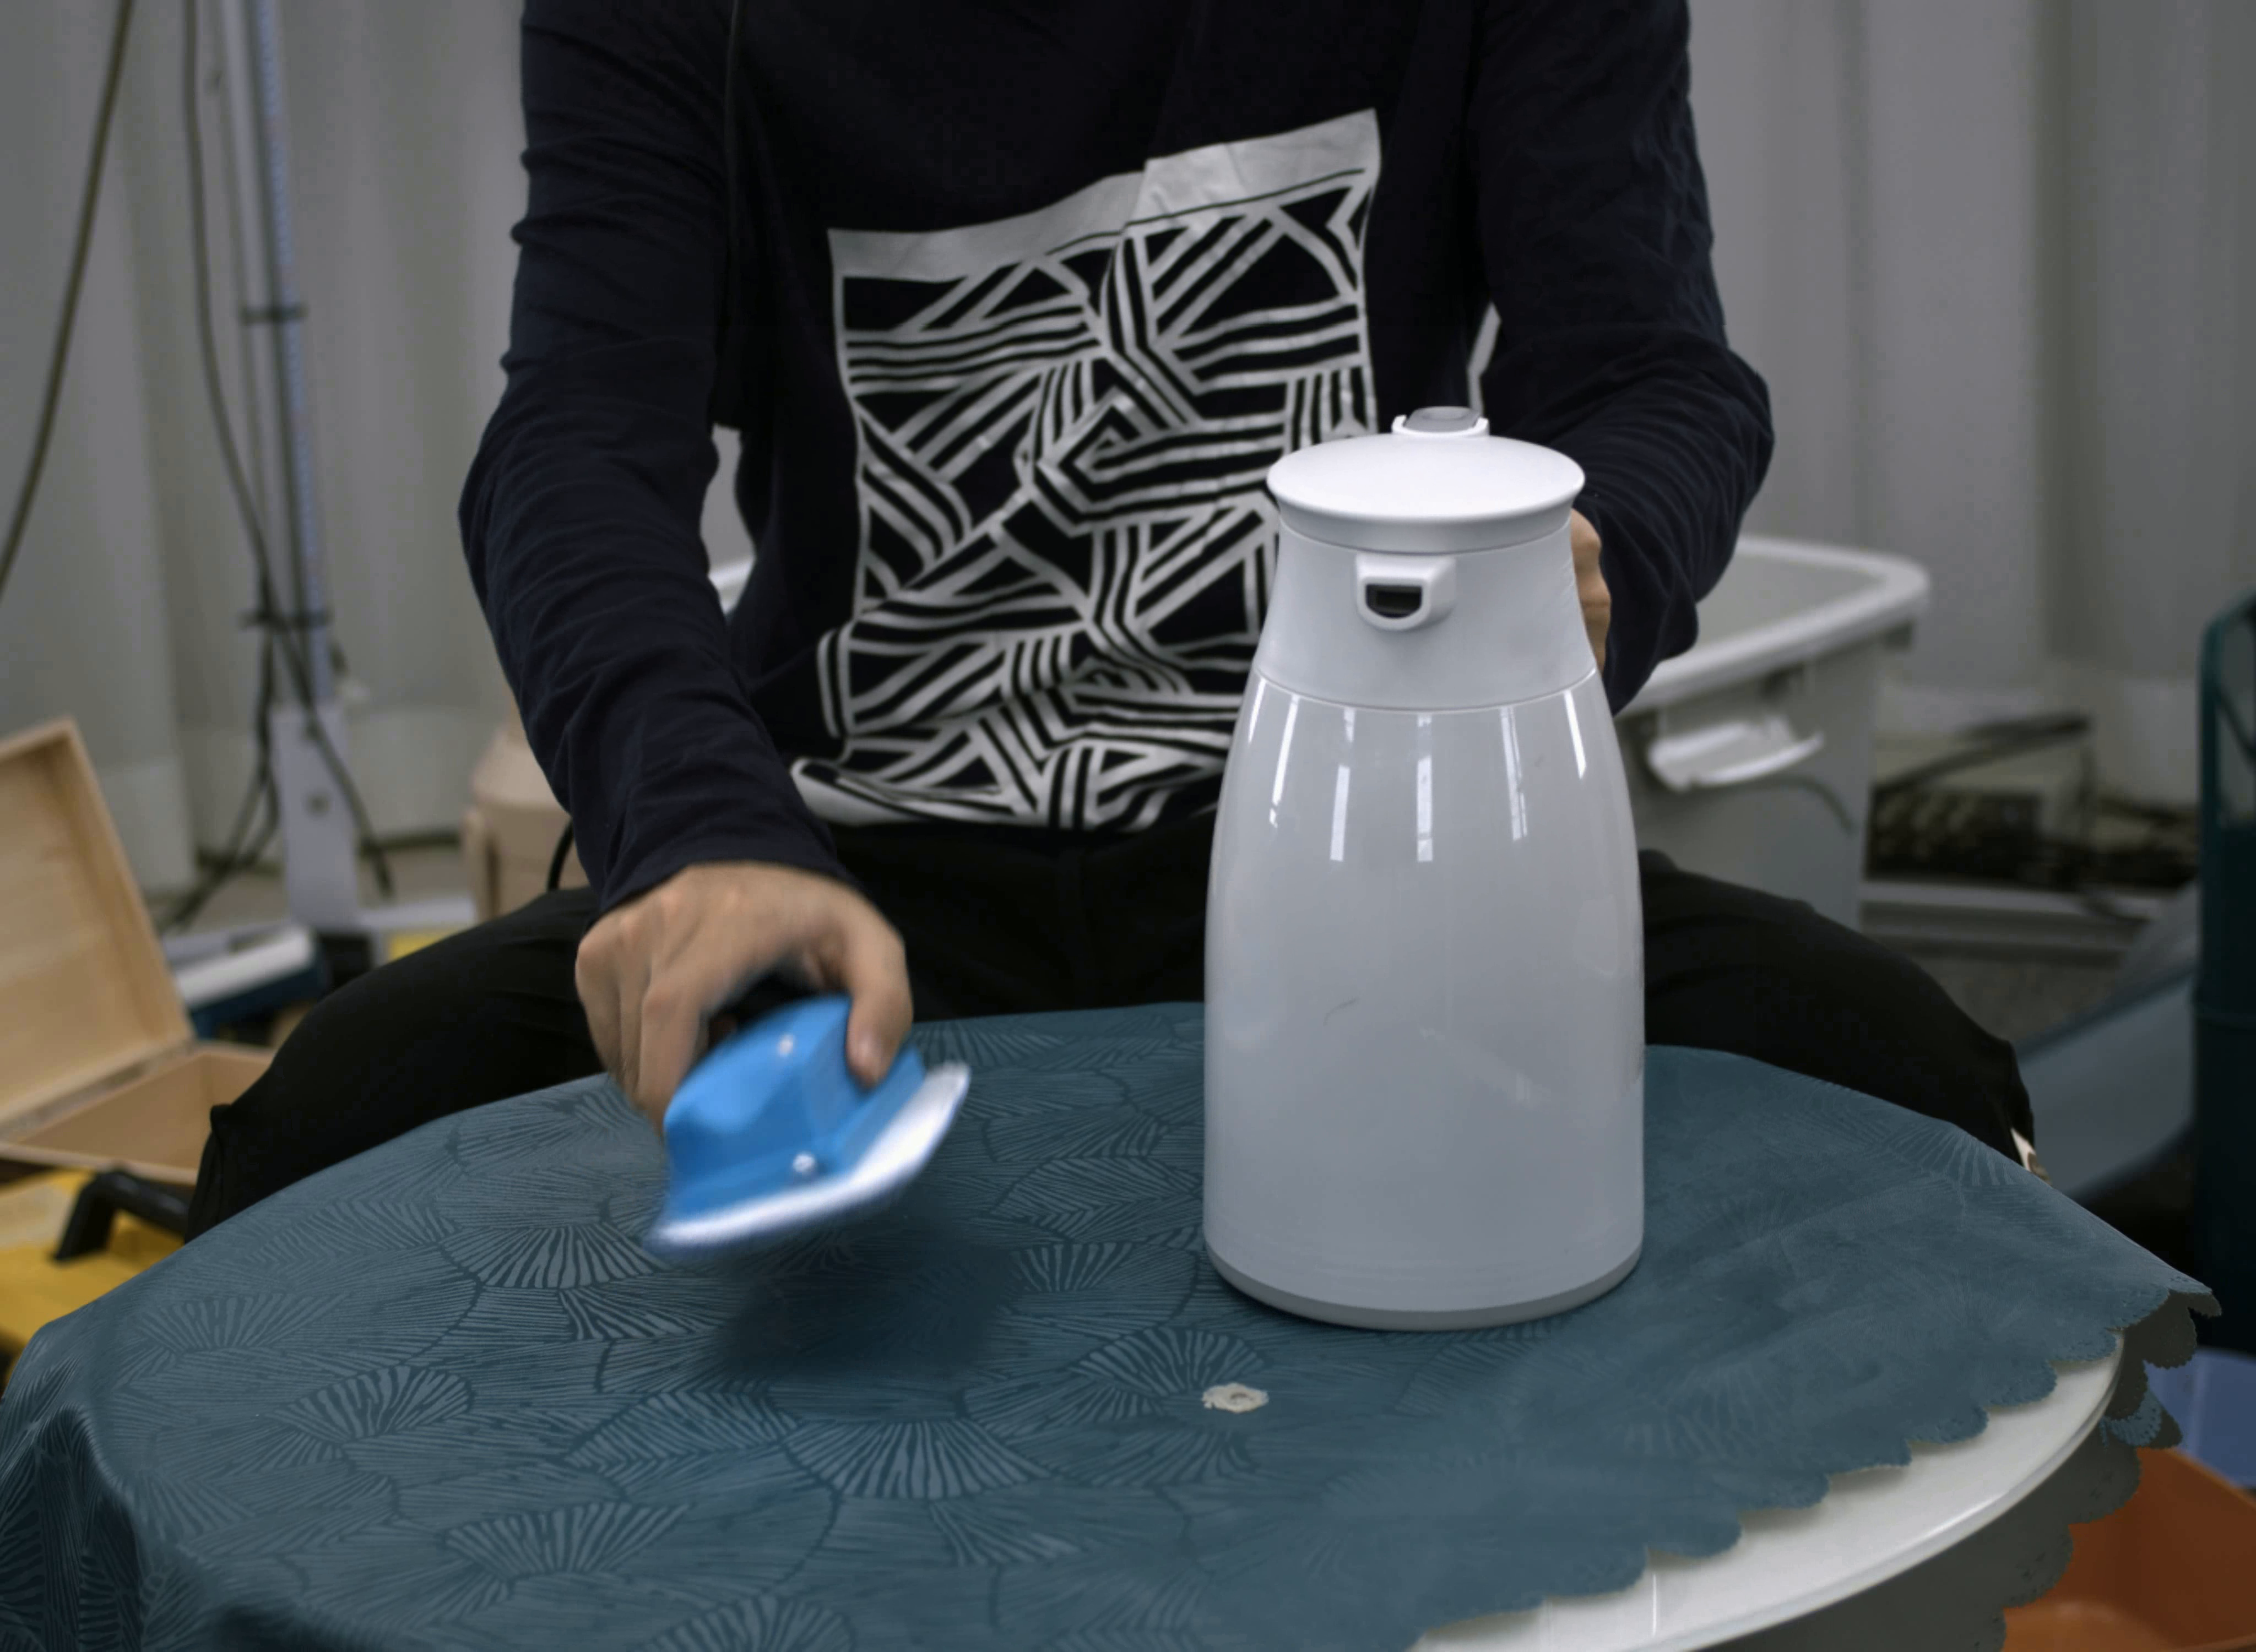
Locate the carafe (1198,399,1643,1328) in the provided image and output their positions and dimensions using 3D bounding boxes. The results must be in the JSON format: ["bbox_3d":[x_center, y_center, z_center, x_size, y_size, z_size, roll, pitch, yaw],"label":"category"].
[{"bbox_3d":[0.088,0.002,1.620,0.132,0.247,0.169,1,17,8],"label":"carafe"}]

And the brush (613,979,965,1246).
[{"bbox_3d":[-0.102,0.083,1.624,0.083,0.056,0.144,-11,12,13],"label":"brush"}]
